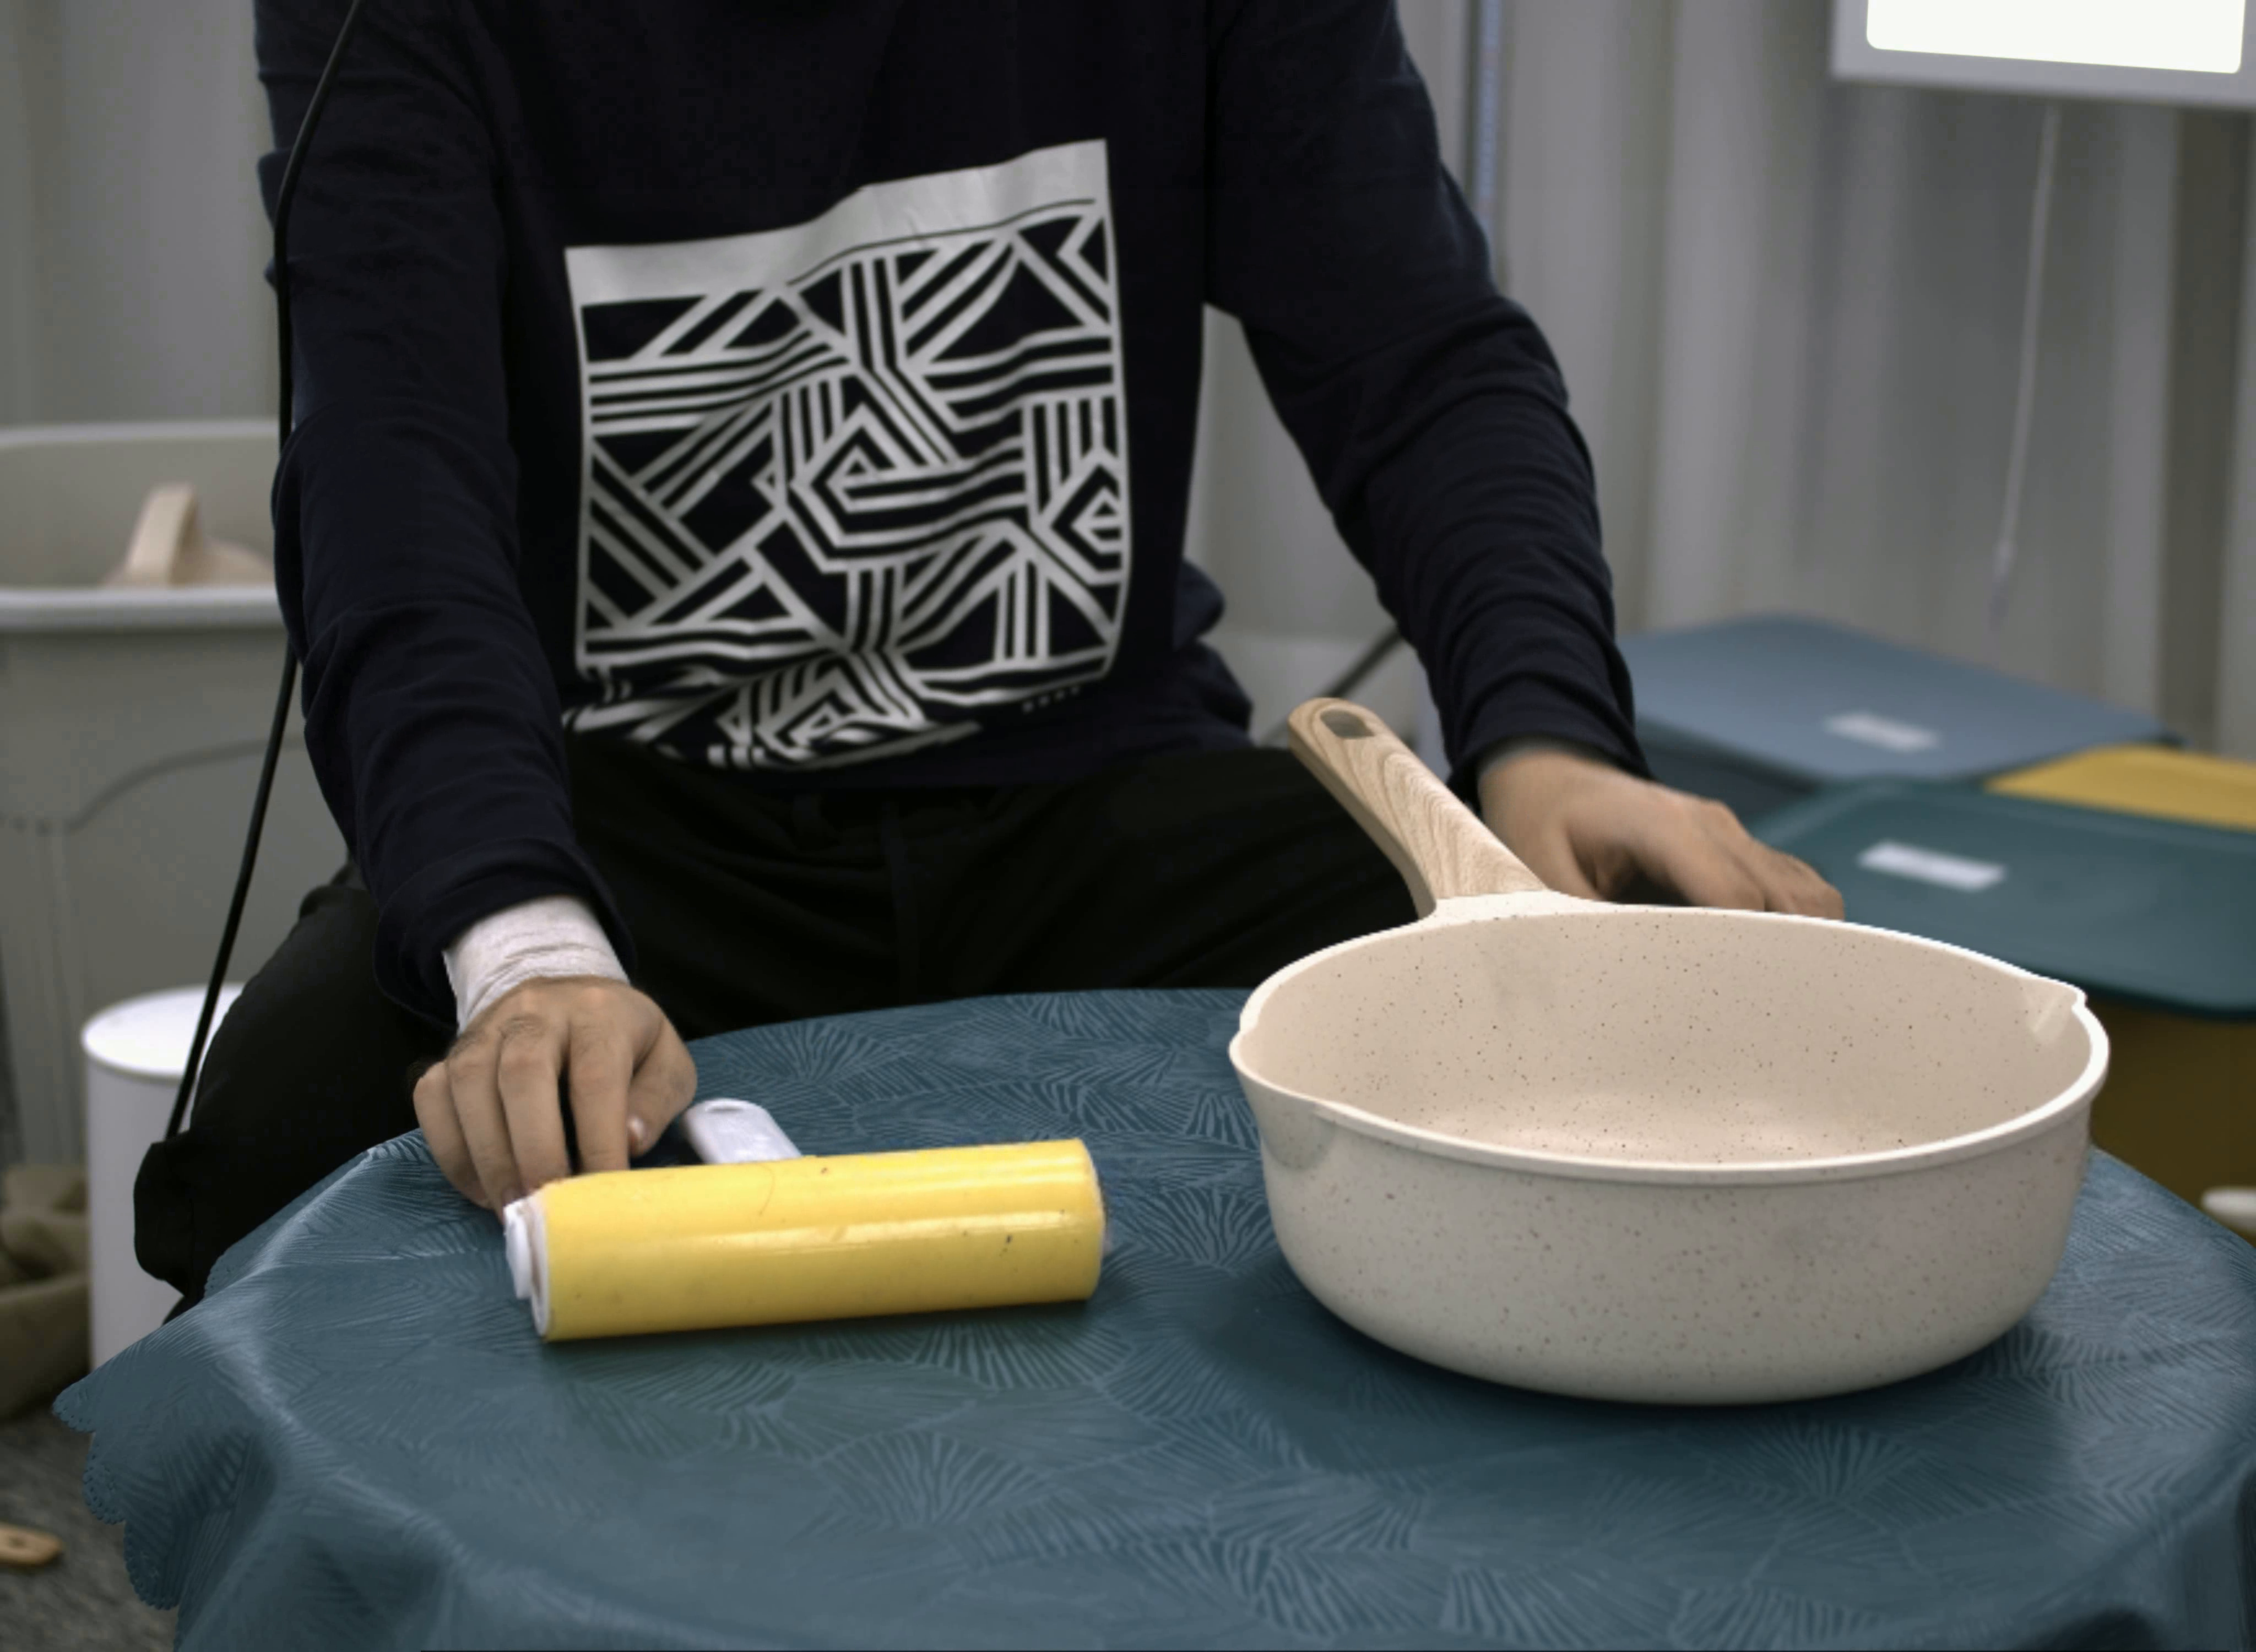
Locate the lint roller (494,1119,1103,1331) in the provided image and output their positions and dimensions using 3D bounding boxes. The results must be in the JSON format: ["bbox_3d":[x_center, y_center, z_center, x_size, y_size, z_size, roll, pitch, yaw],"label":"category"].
[{"bbox_3d":[-0.110,0.101,1.577,0.174,0.052,0.190,-3,15,-14],"label":"lint roller"}]

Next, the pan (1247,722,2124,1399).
[{"bbox_3d":[0.134,0.066,1.615,0.264,0.103,0.430,-7,16,-17],"label":"pan"}]
